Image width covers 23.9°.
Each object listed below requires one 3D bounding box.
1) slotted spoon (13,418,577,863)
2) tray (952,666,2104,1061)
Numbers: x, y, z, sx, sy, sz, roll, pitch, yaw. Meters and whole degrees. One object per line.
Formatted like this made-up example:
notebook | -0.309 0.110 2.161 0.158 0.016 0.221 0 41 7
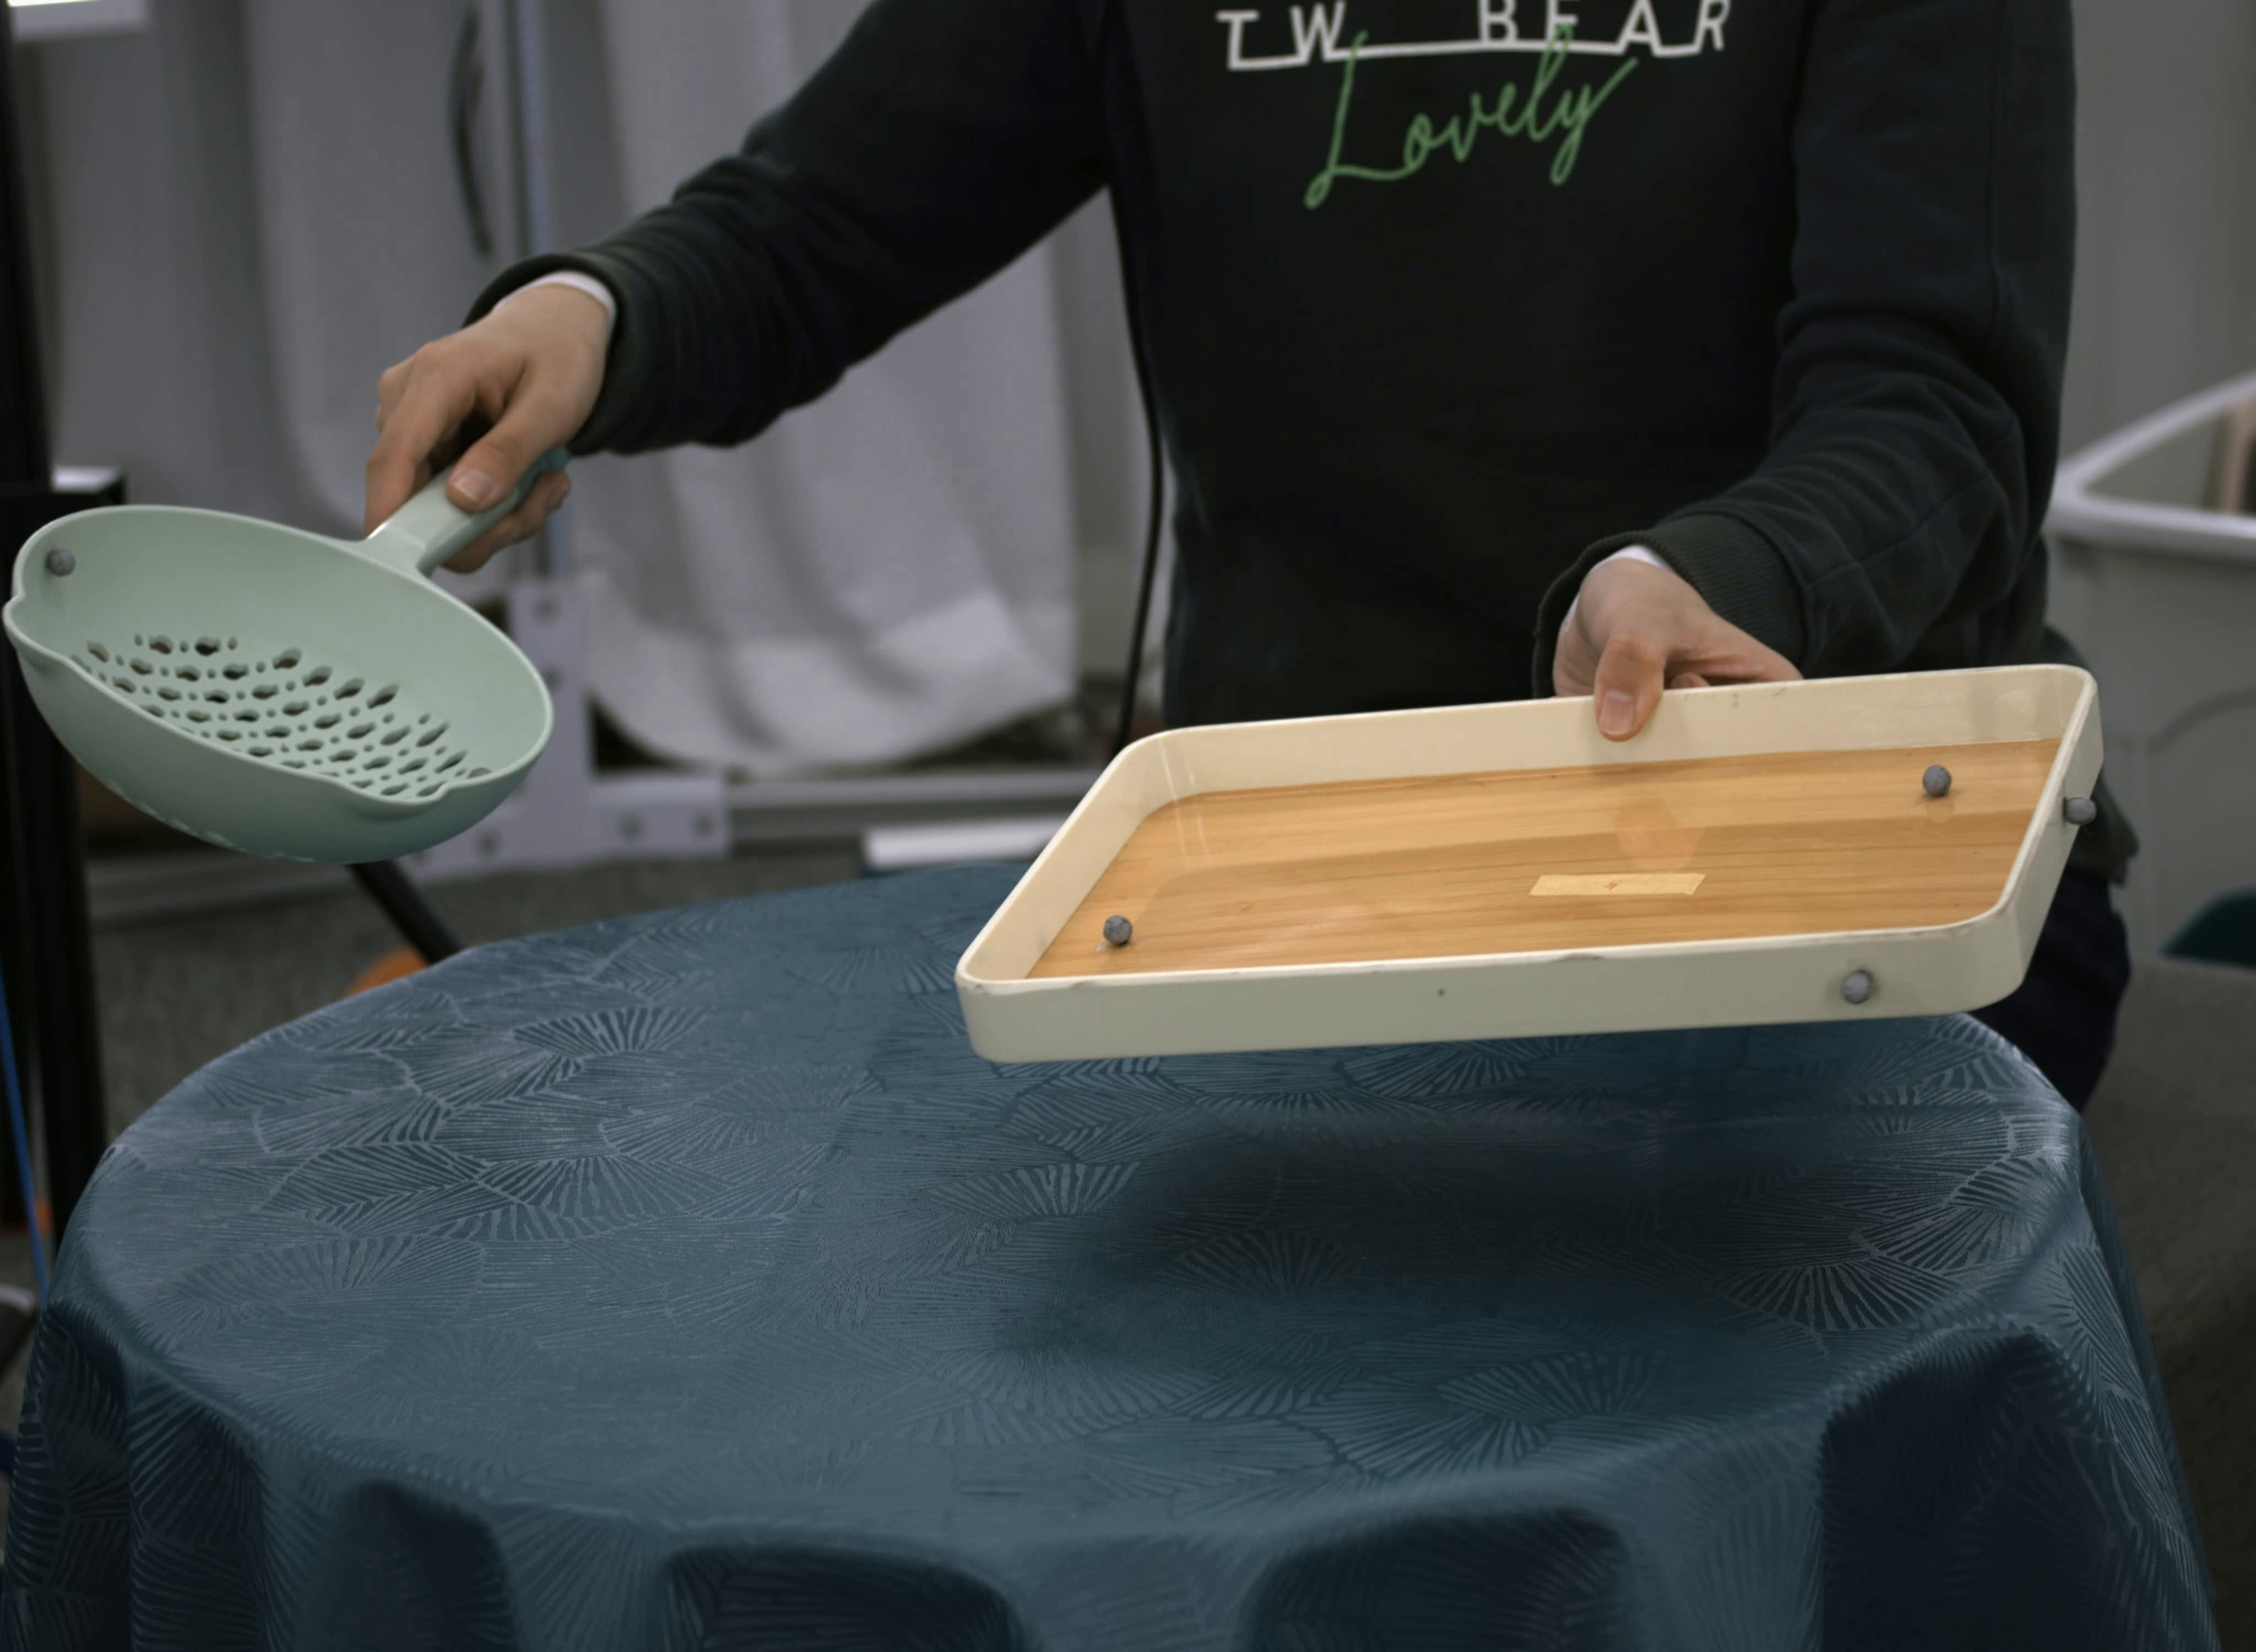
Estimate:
slotted spoon | -0.236 -0.078 1.717 0.169 0.075 0.357 23 31 4
tray | 0.116 0.011 1.500 0.304 0.027 0.190 -3 22 22
